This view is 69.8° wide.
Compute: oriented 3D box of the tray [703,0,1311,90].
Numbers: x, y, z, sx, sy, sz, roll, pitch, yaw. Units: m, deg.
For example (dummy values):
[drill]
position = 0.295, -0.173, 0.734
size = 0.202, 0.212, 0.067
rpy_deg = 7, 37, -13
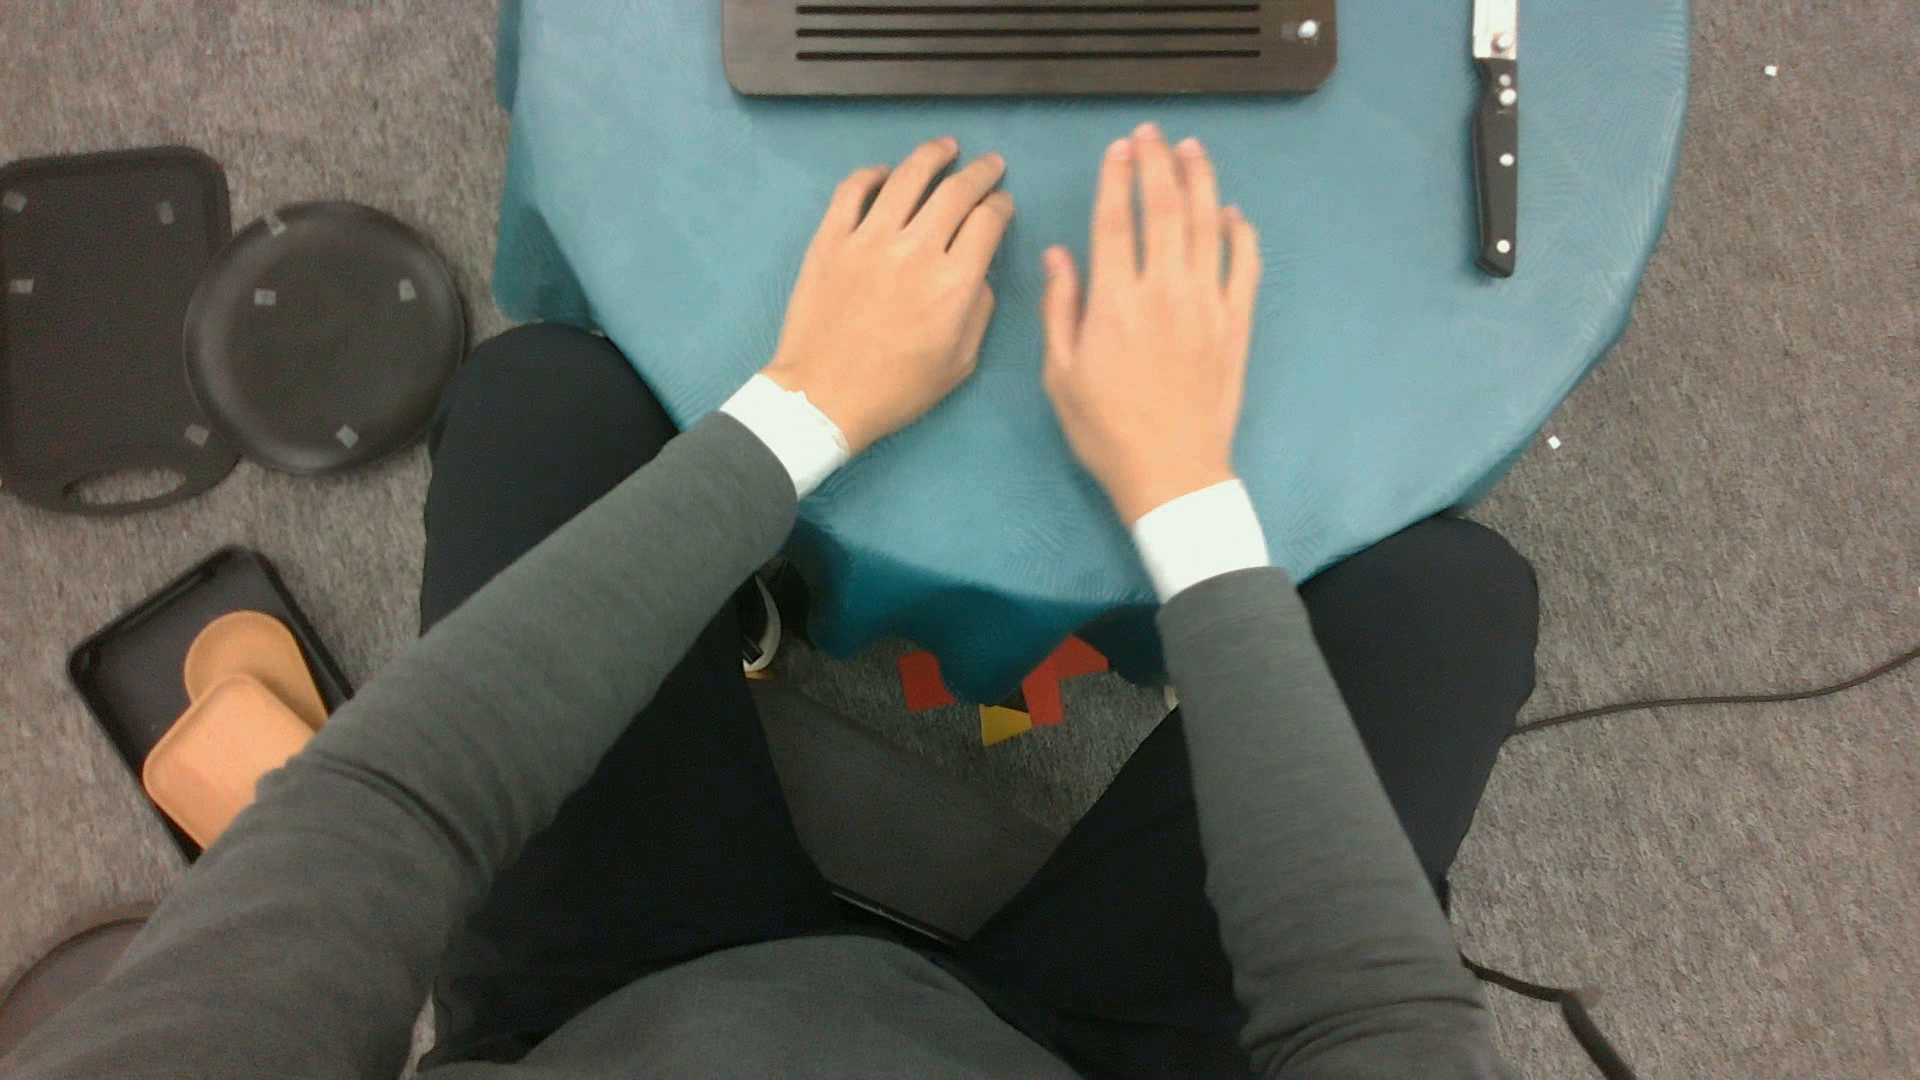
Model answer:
[tray]
position = 0.023, -0.311, 0.701
size = 0.306, 0.018, 0.170
rpy_deg = -1, 85, -2

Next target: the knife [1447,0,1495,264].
[knife]
position = 0.262, -0.256, 0.708
size = 0.024, 0.016, 0.238
rpy_deg = 3, 81, -3
